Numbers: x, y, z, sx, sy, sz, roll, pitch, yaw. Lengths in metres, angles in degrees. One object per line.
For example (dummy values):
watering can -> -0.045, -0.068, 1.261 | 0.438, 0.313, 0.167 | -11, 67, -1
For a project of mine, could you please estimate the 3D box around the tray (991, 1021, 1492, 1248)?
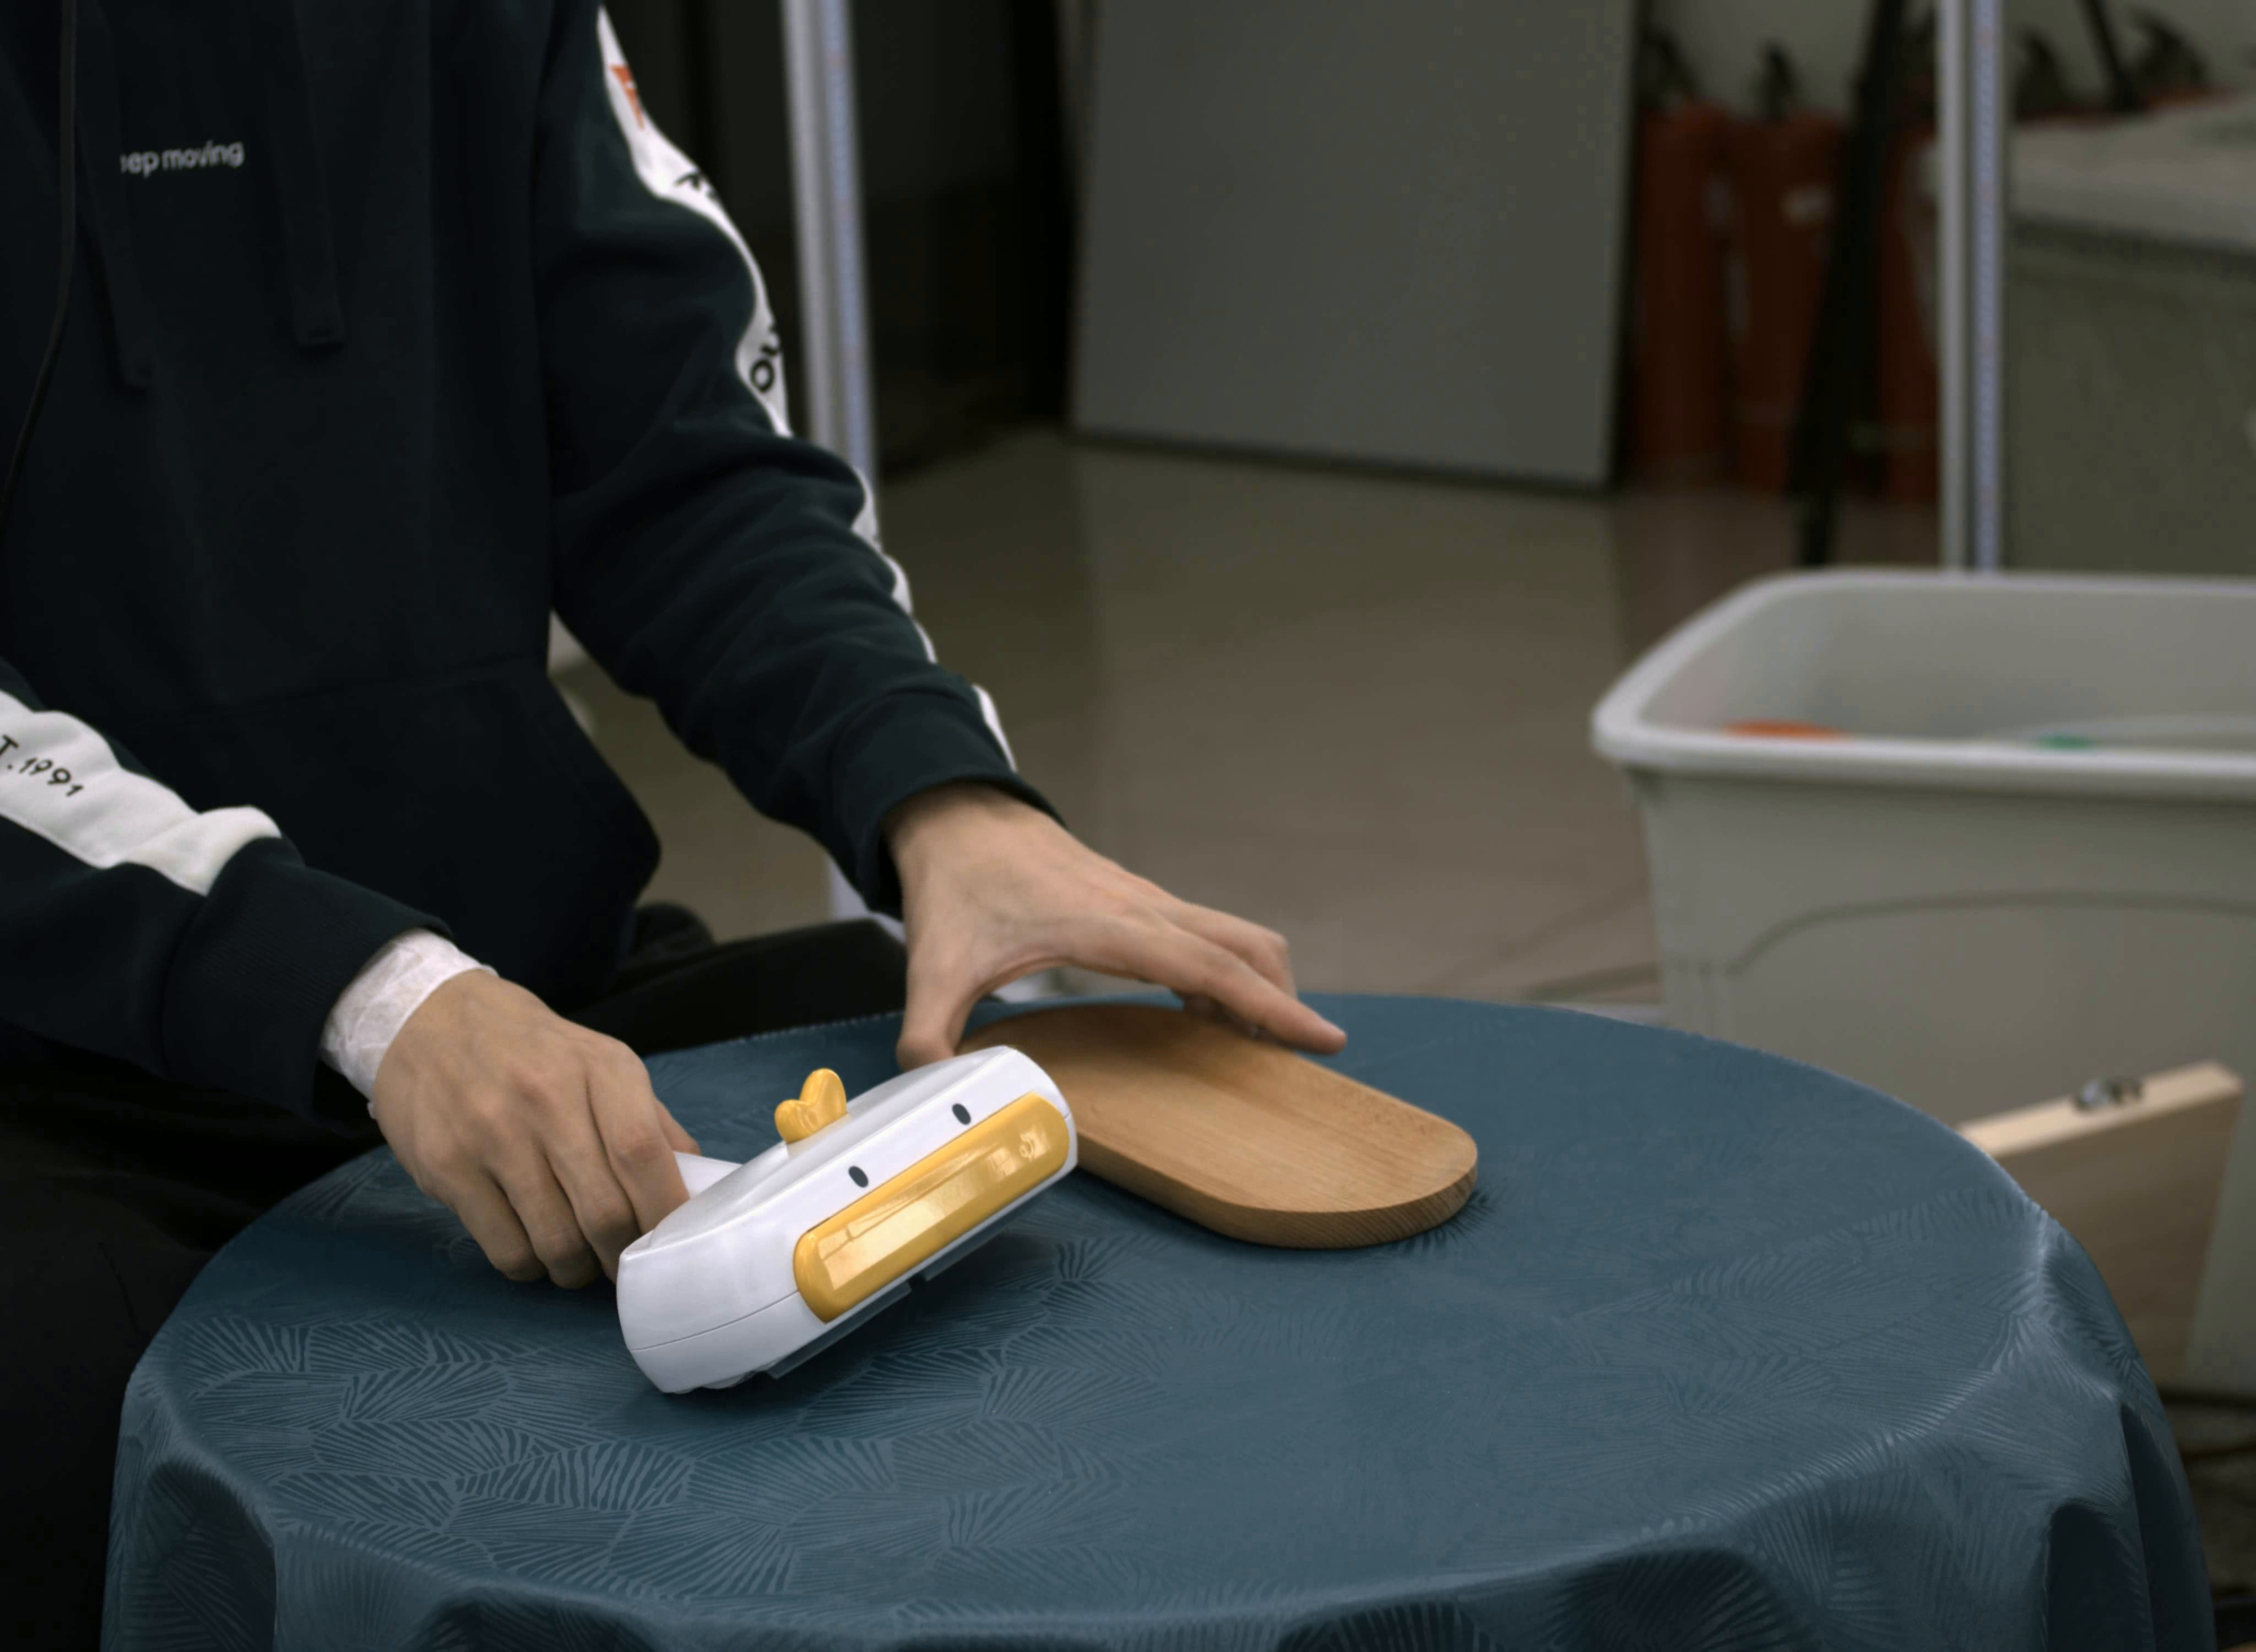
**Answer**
tray -> 0.029, 0.101, 1.793 | 0.099, 0.020, 0.234 | -14, 20, -33

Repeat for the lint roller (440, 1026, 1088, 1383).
lint roller -> -0.131, 0.118, 1.698 | 0.193, 0.075, 0.190 | -10, 16, 33
